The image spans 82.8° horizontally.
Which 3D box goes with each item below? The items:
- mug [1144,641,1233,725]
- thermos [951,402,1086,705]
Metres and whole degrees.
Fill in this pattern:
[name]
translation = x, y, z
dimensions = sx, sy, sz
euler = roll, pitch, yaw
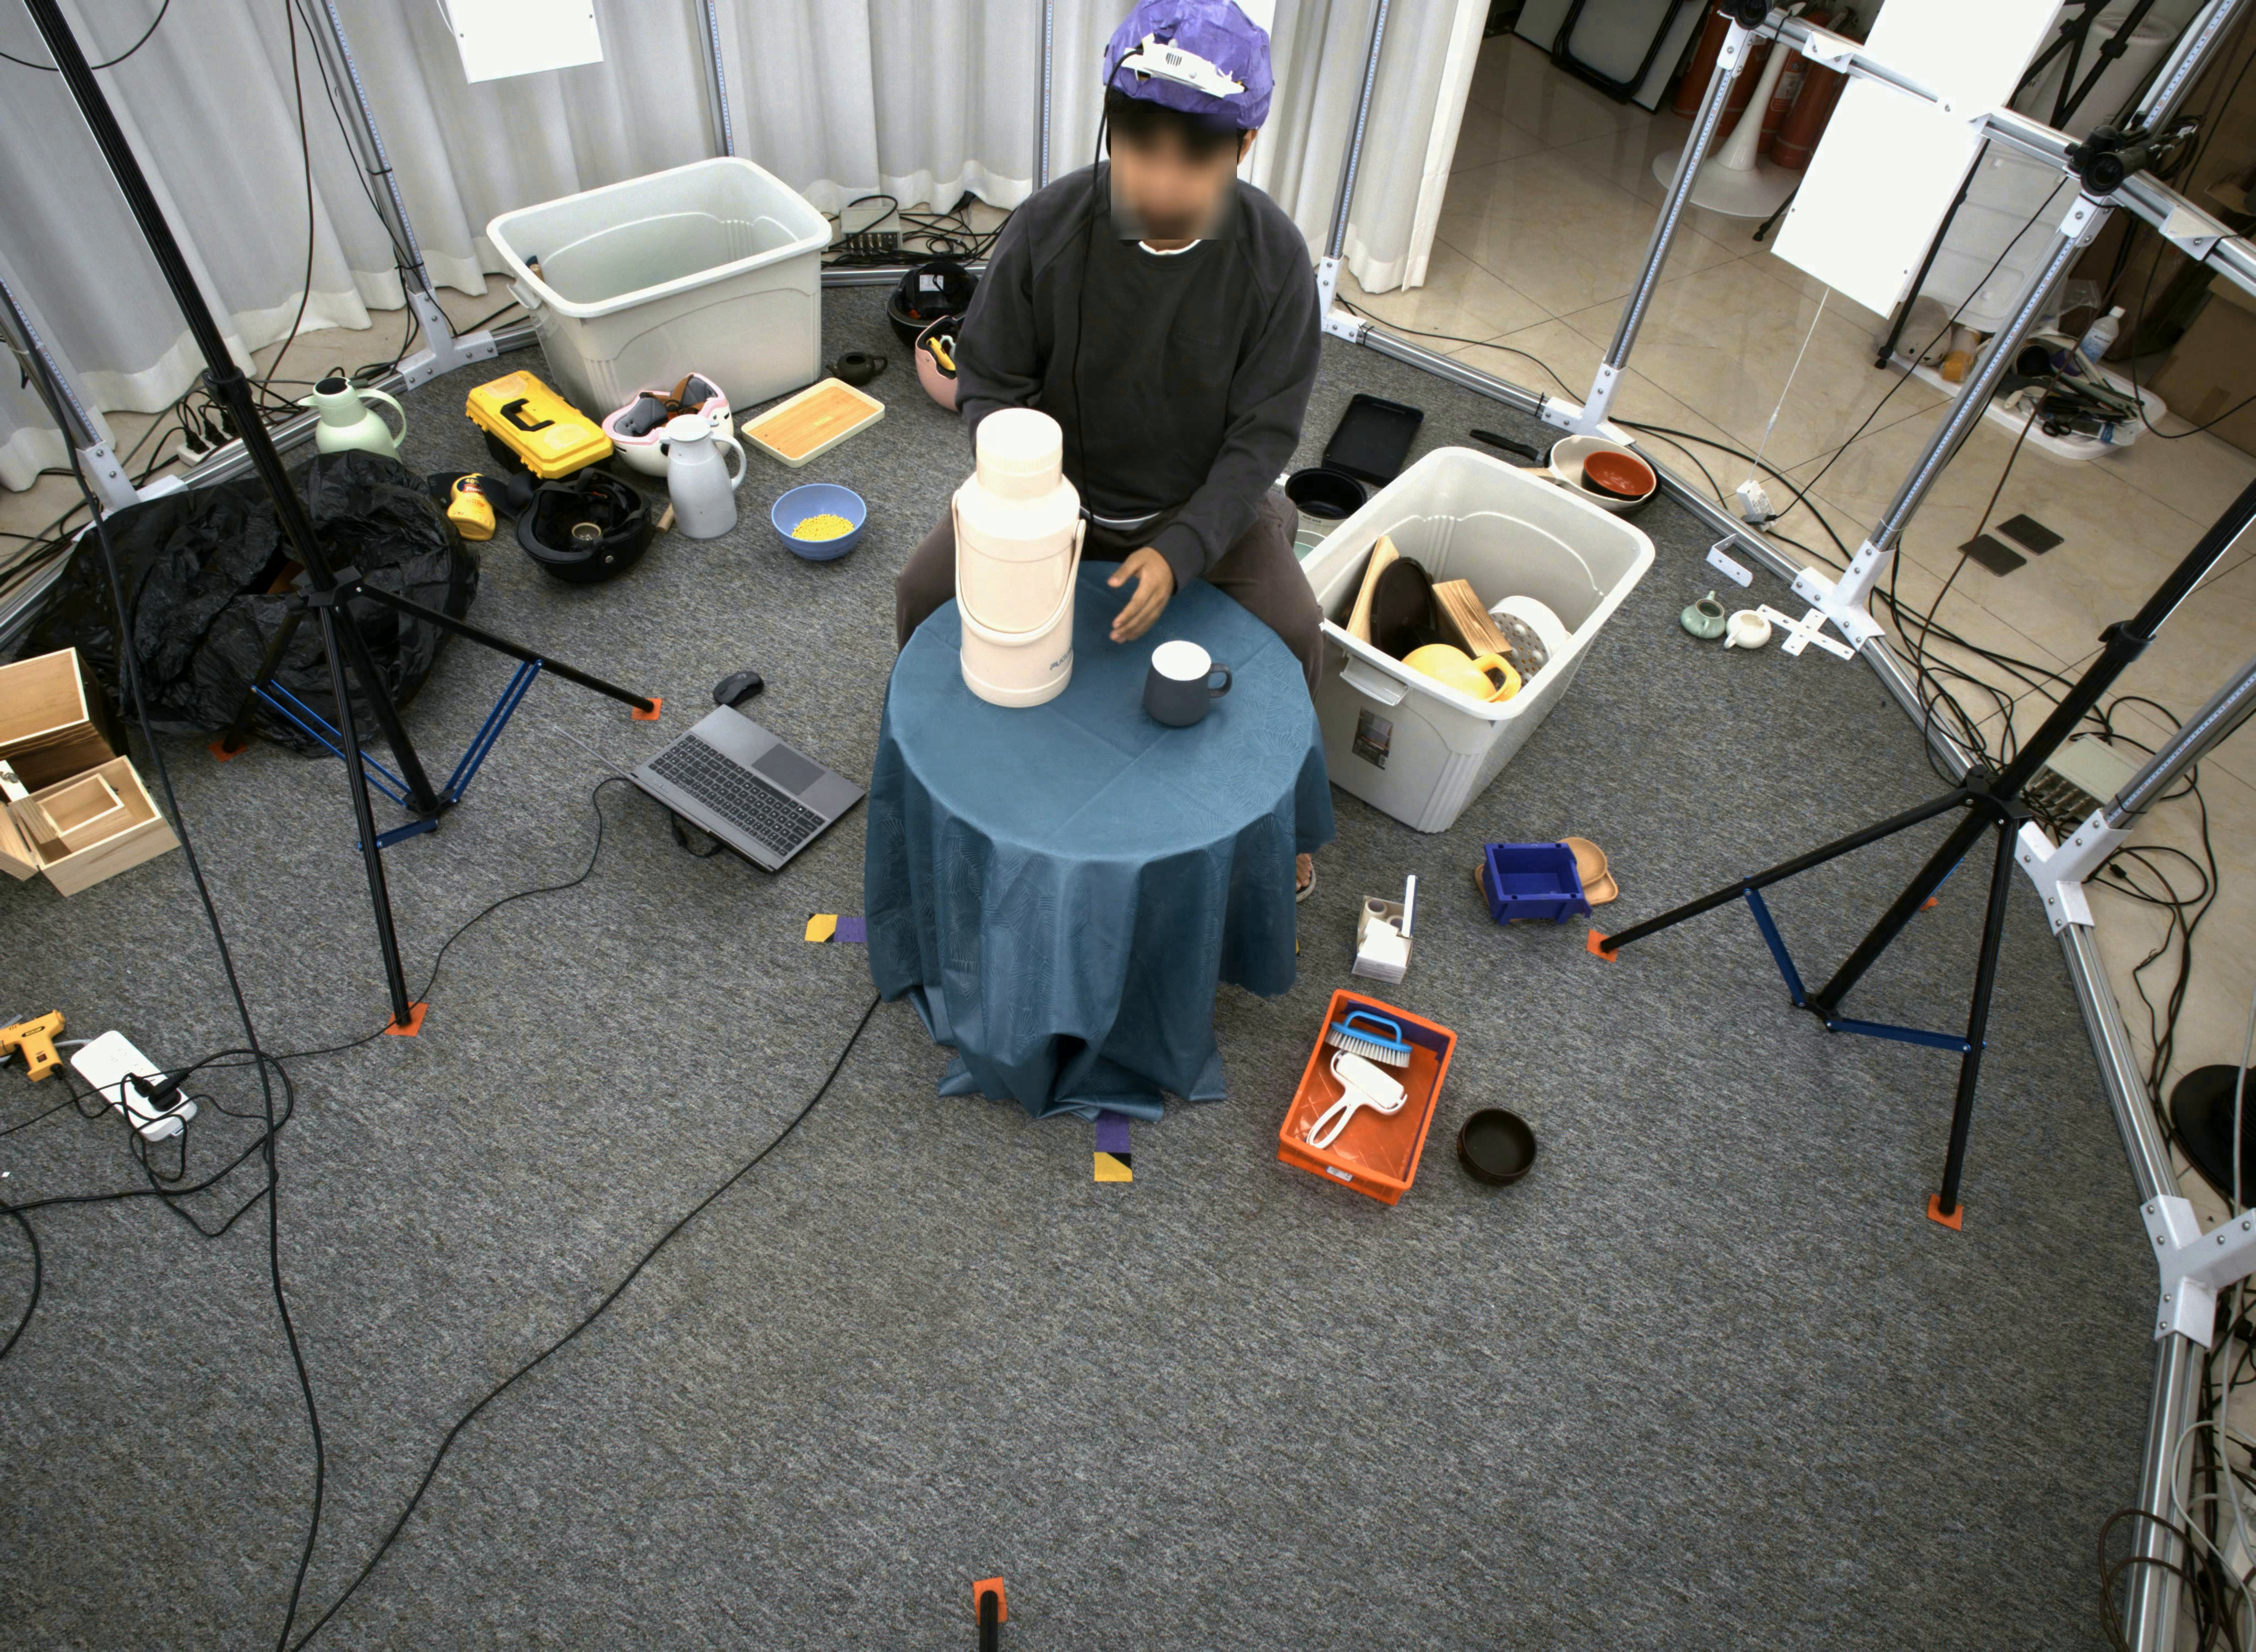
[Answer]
[mug]
translation = 0.086, -0.199, 1.786
dimensions = 0.123, 0.088, 0.096
euler = -4, 49, -8
[thermos]
translation = -0.139, -0.364, 1.714
dimensions = 0.176, 0.396, 0.211
euler = 15, 51, 8
